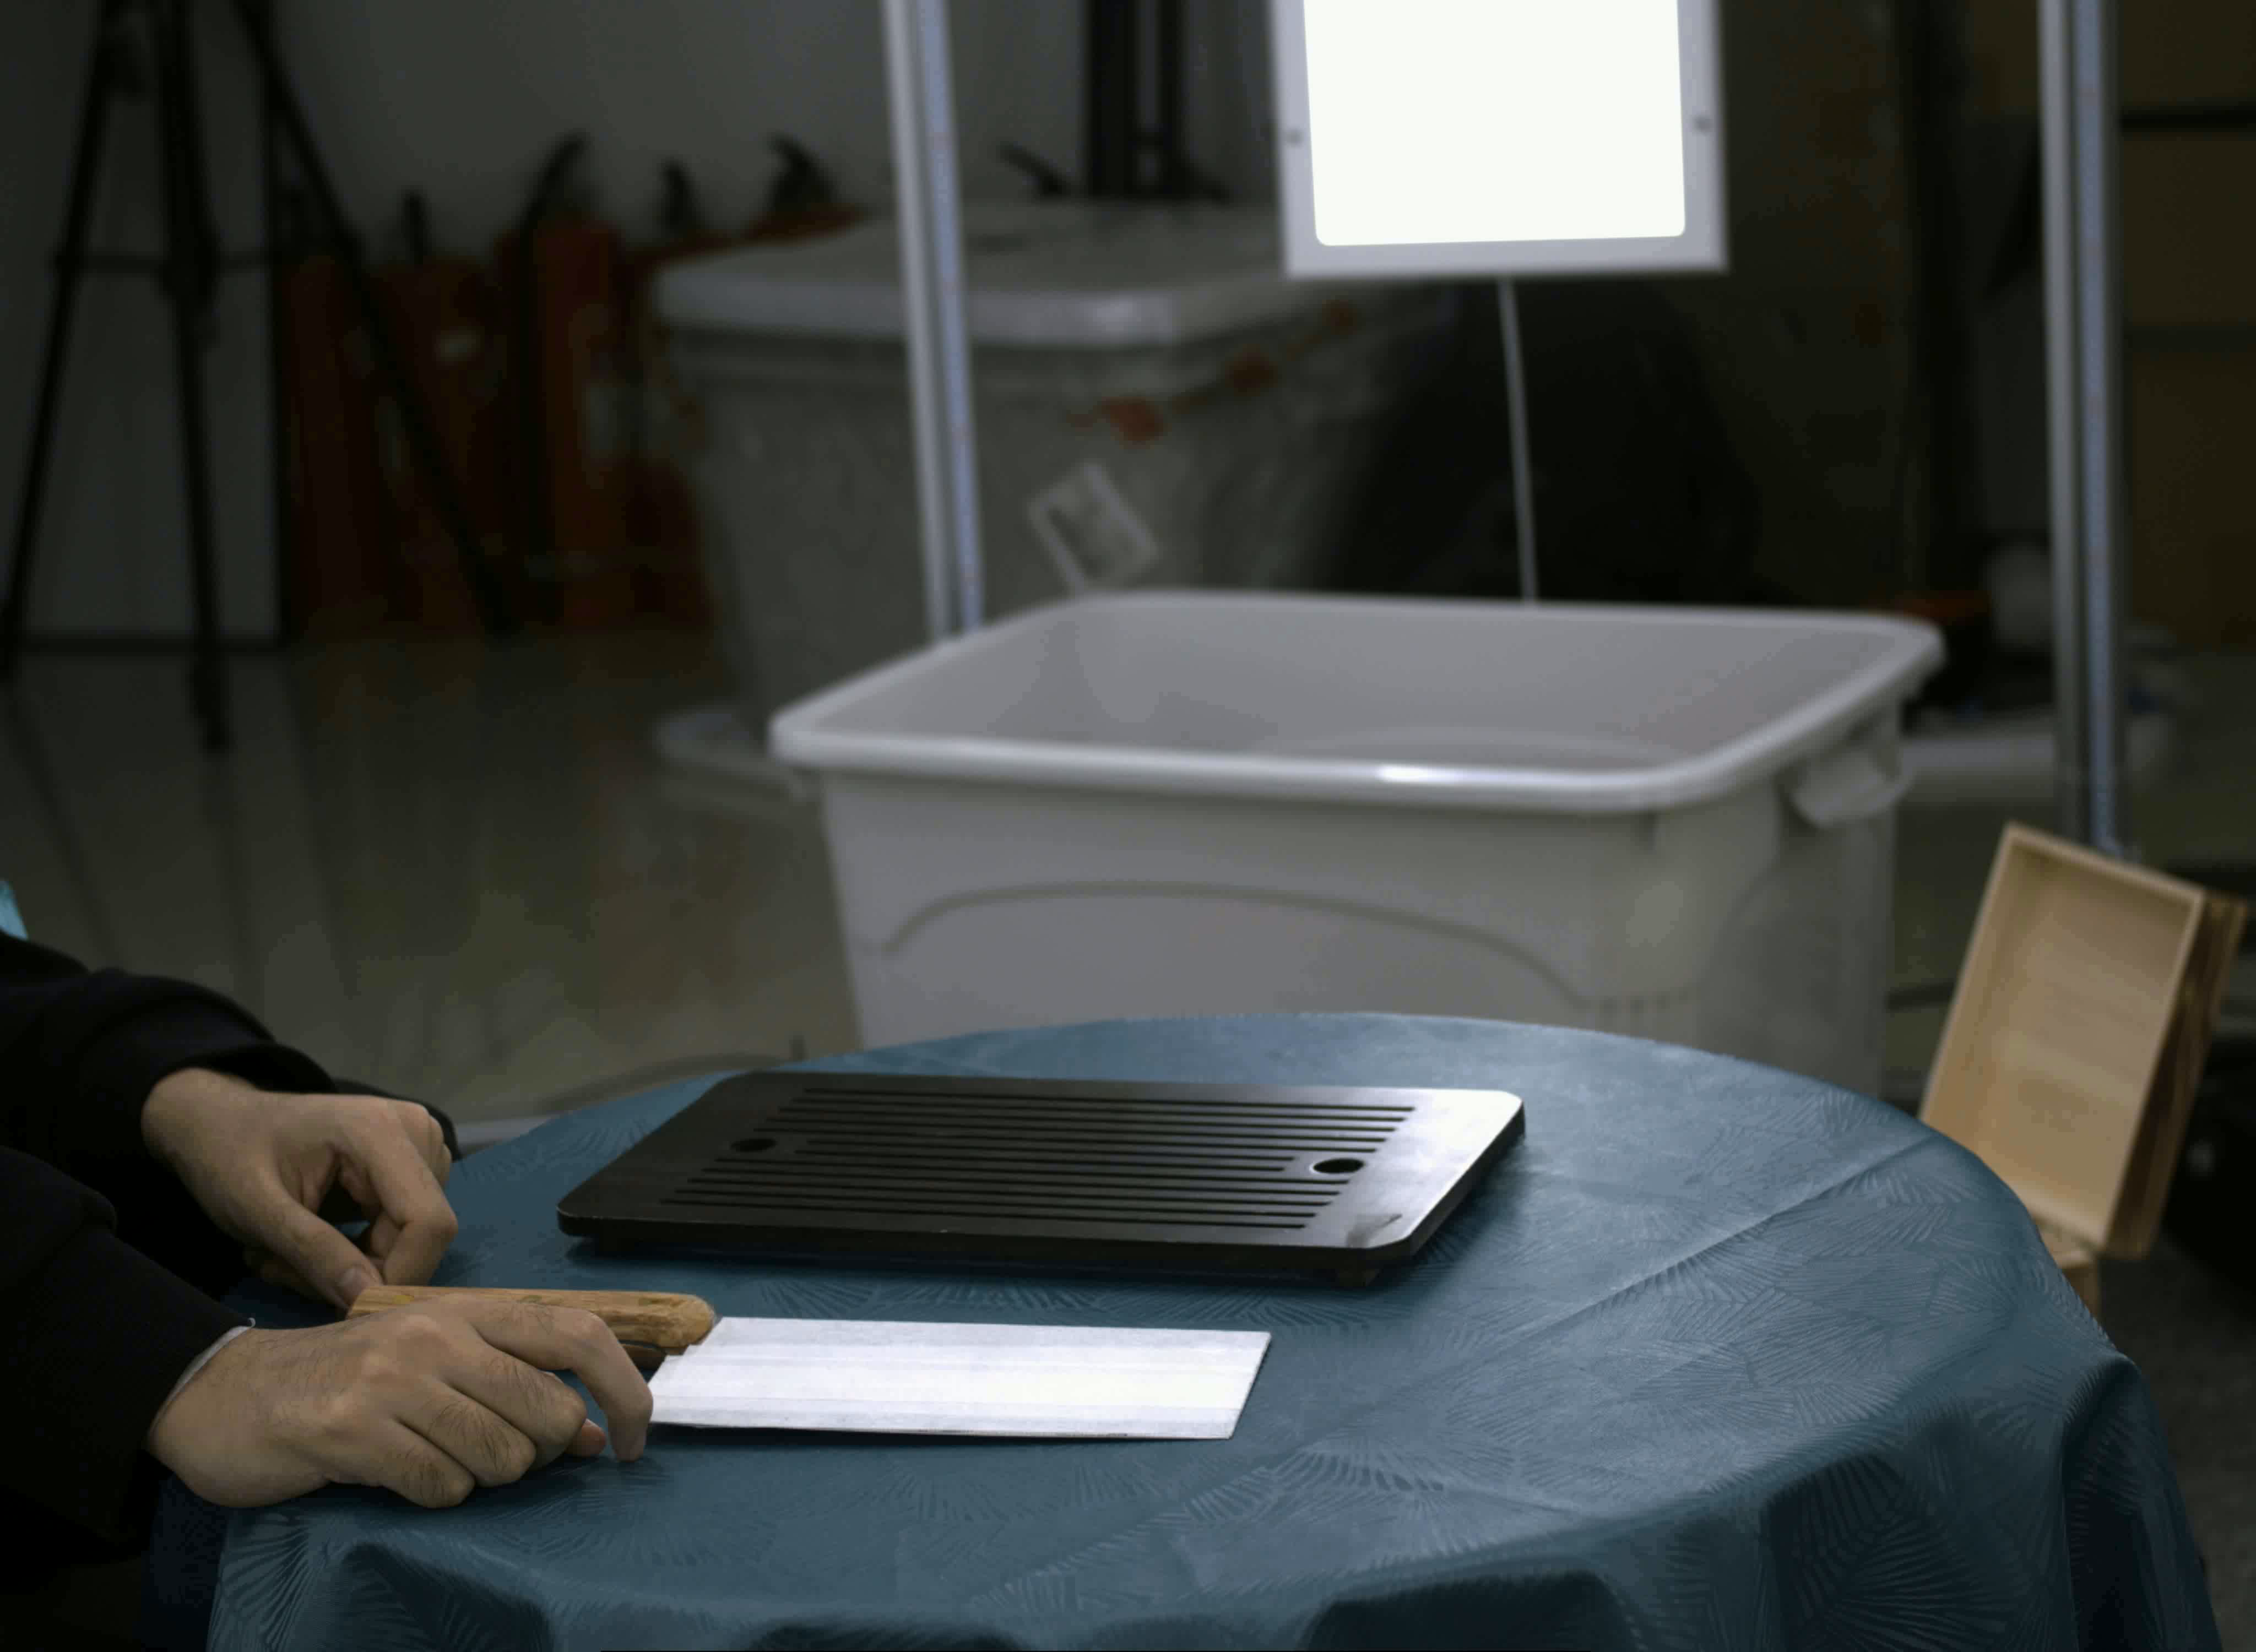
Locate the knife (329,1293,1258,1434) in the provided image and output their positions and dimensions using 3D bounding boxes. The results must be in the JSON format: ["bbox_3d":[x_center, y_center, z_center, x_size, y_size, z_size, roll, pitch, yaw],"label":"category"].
[{"bbox_3d":[-0.111,0.171,1.728,0.308,0.021,0.092,0,16,12],"label":"knife"}]

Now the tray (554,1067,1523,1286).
[{"bbox_3d":[-0.029,0.119,1.898,0.310,0.019,0.167,1,15,22],"label":"tray"}]
